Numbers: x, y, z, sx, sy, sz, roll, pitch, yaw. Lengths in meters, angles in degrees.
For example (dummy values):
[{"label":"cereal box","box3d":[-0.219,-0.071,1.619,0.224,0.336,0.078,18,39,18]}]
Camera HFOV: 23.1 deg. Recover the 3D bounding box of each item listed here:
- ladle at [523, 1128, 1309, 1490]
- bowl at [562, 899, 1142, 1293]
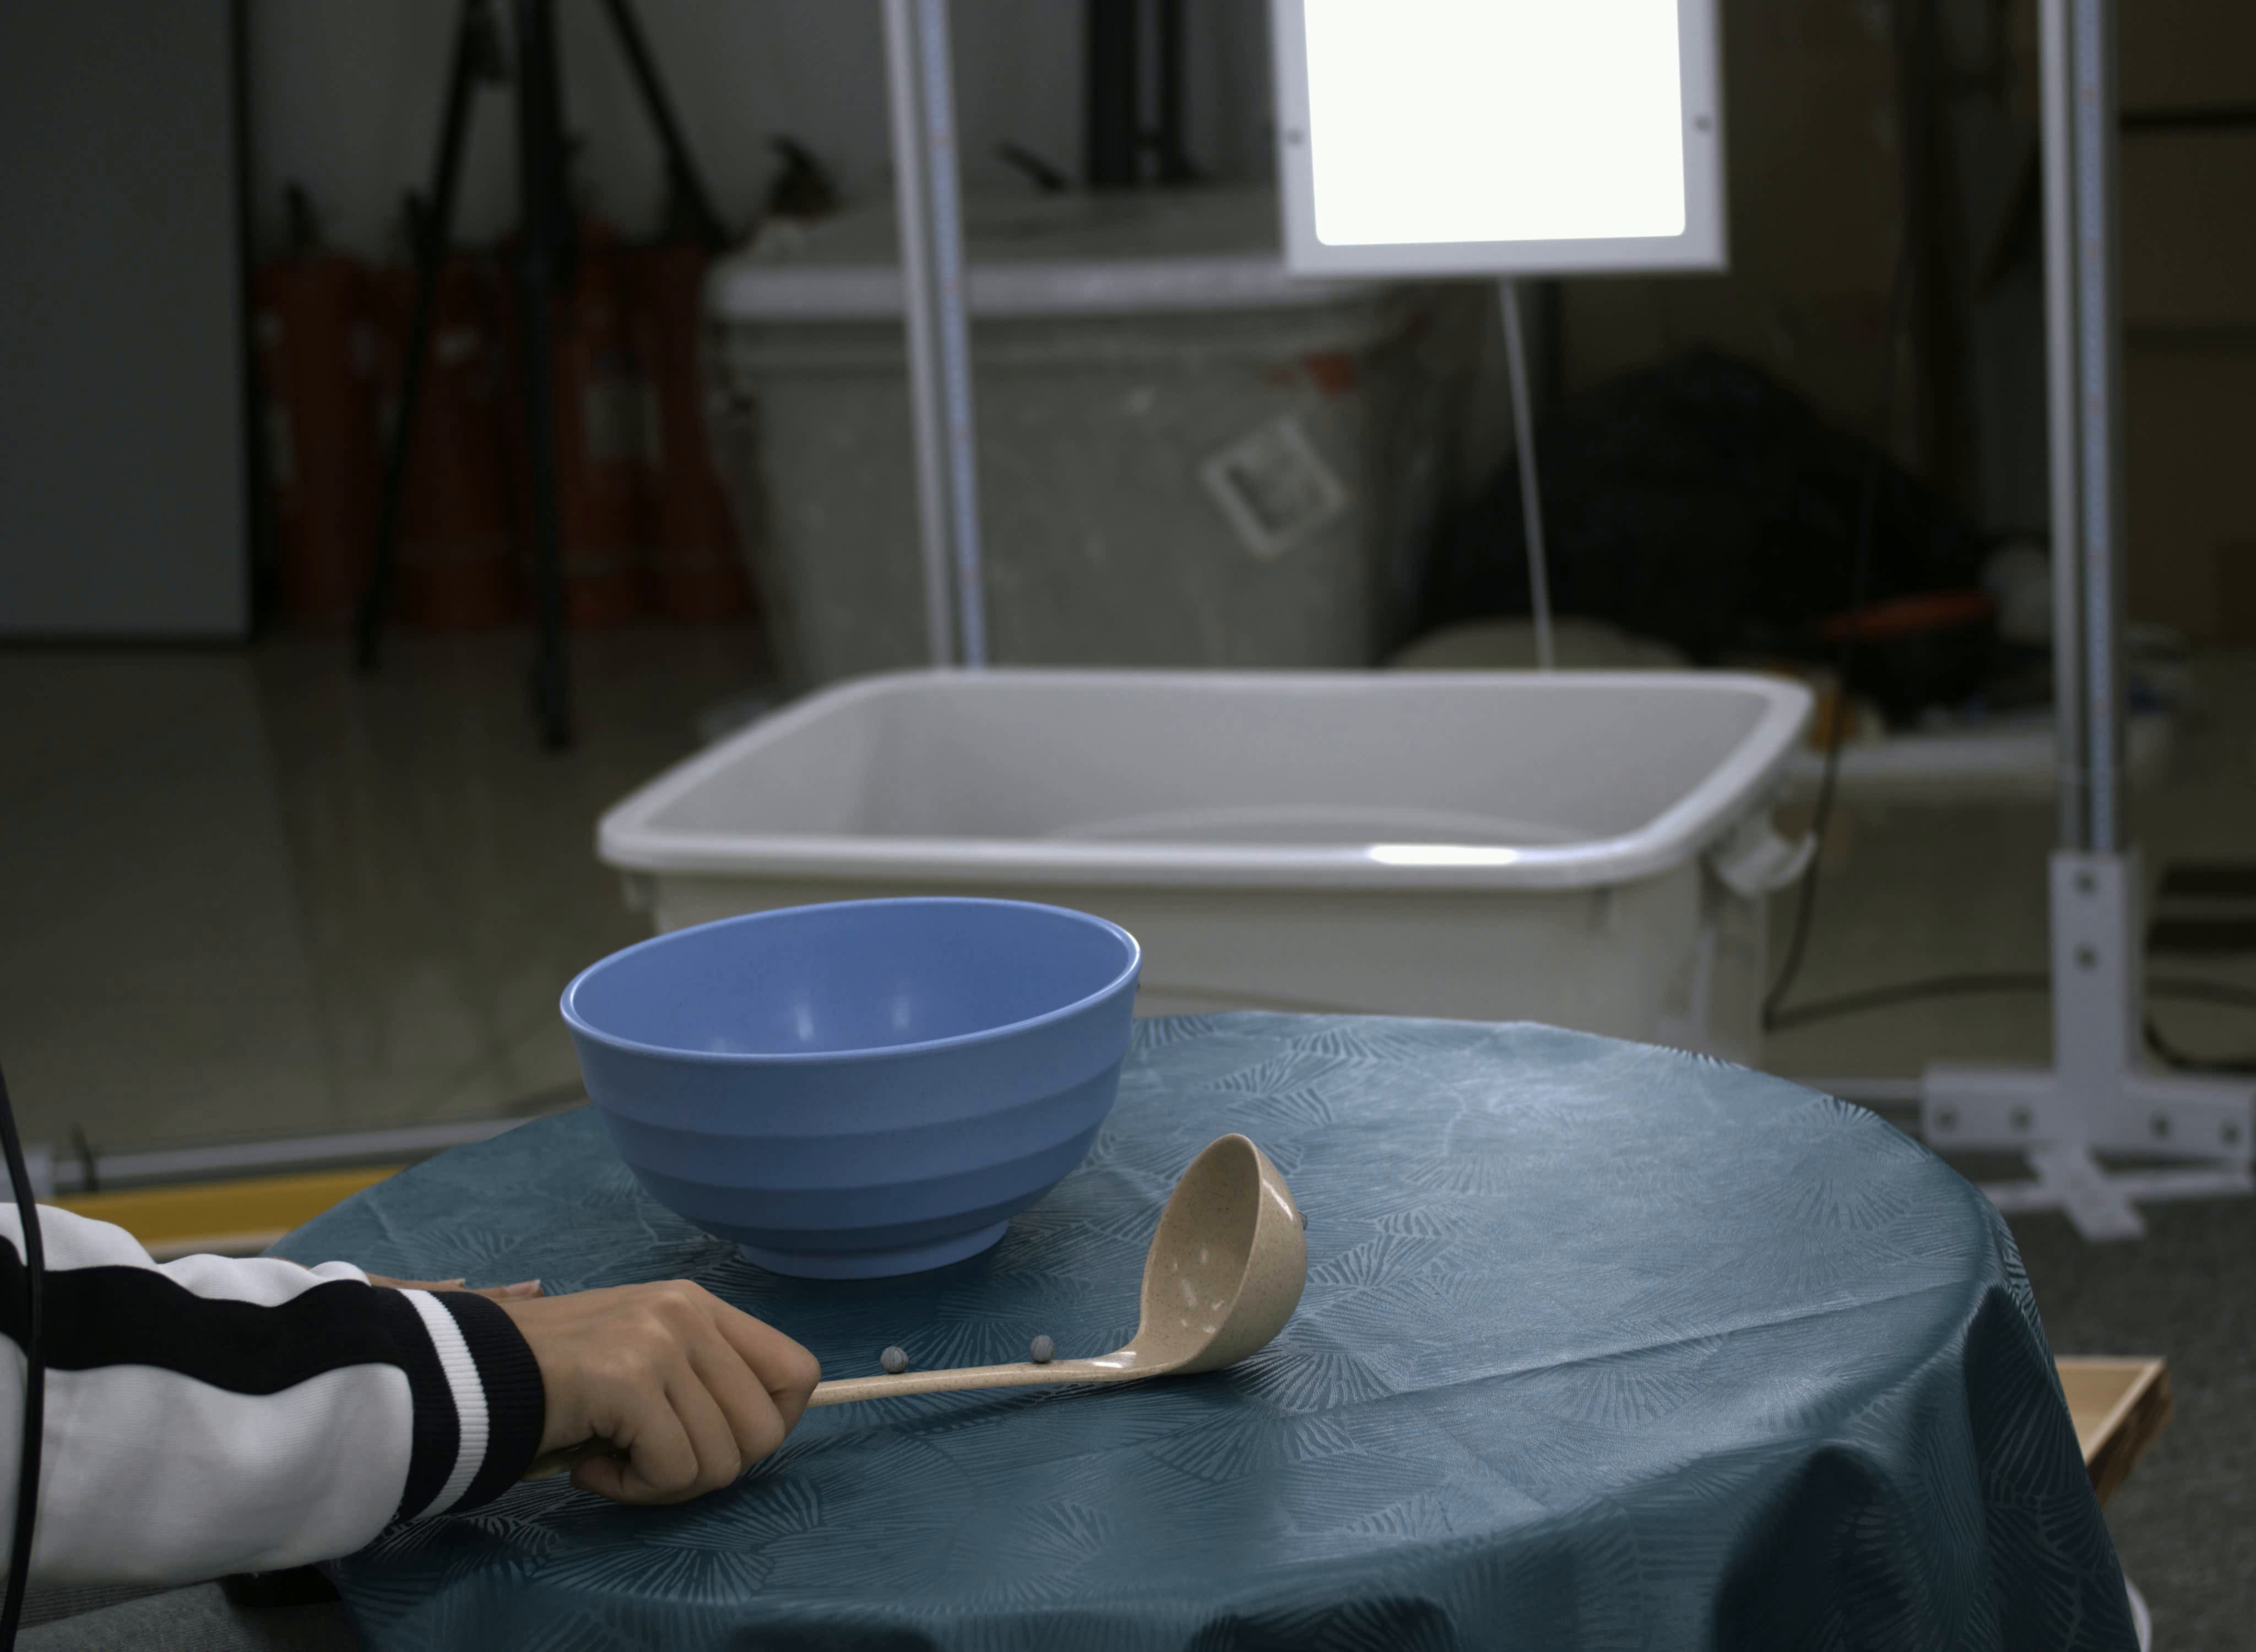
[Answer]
[{"label":"ladle","box3d":[-0.066,0.145,1.679,0.250,0.073,0.073,-8,10,-21]},{"label":"bowl","box3d":[-0.089,0.098,1.865,0.196,0.096,0.196,-5,15,0]}]
